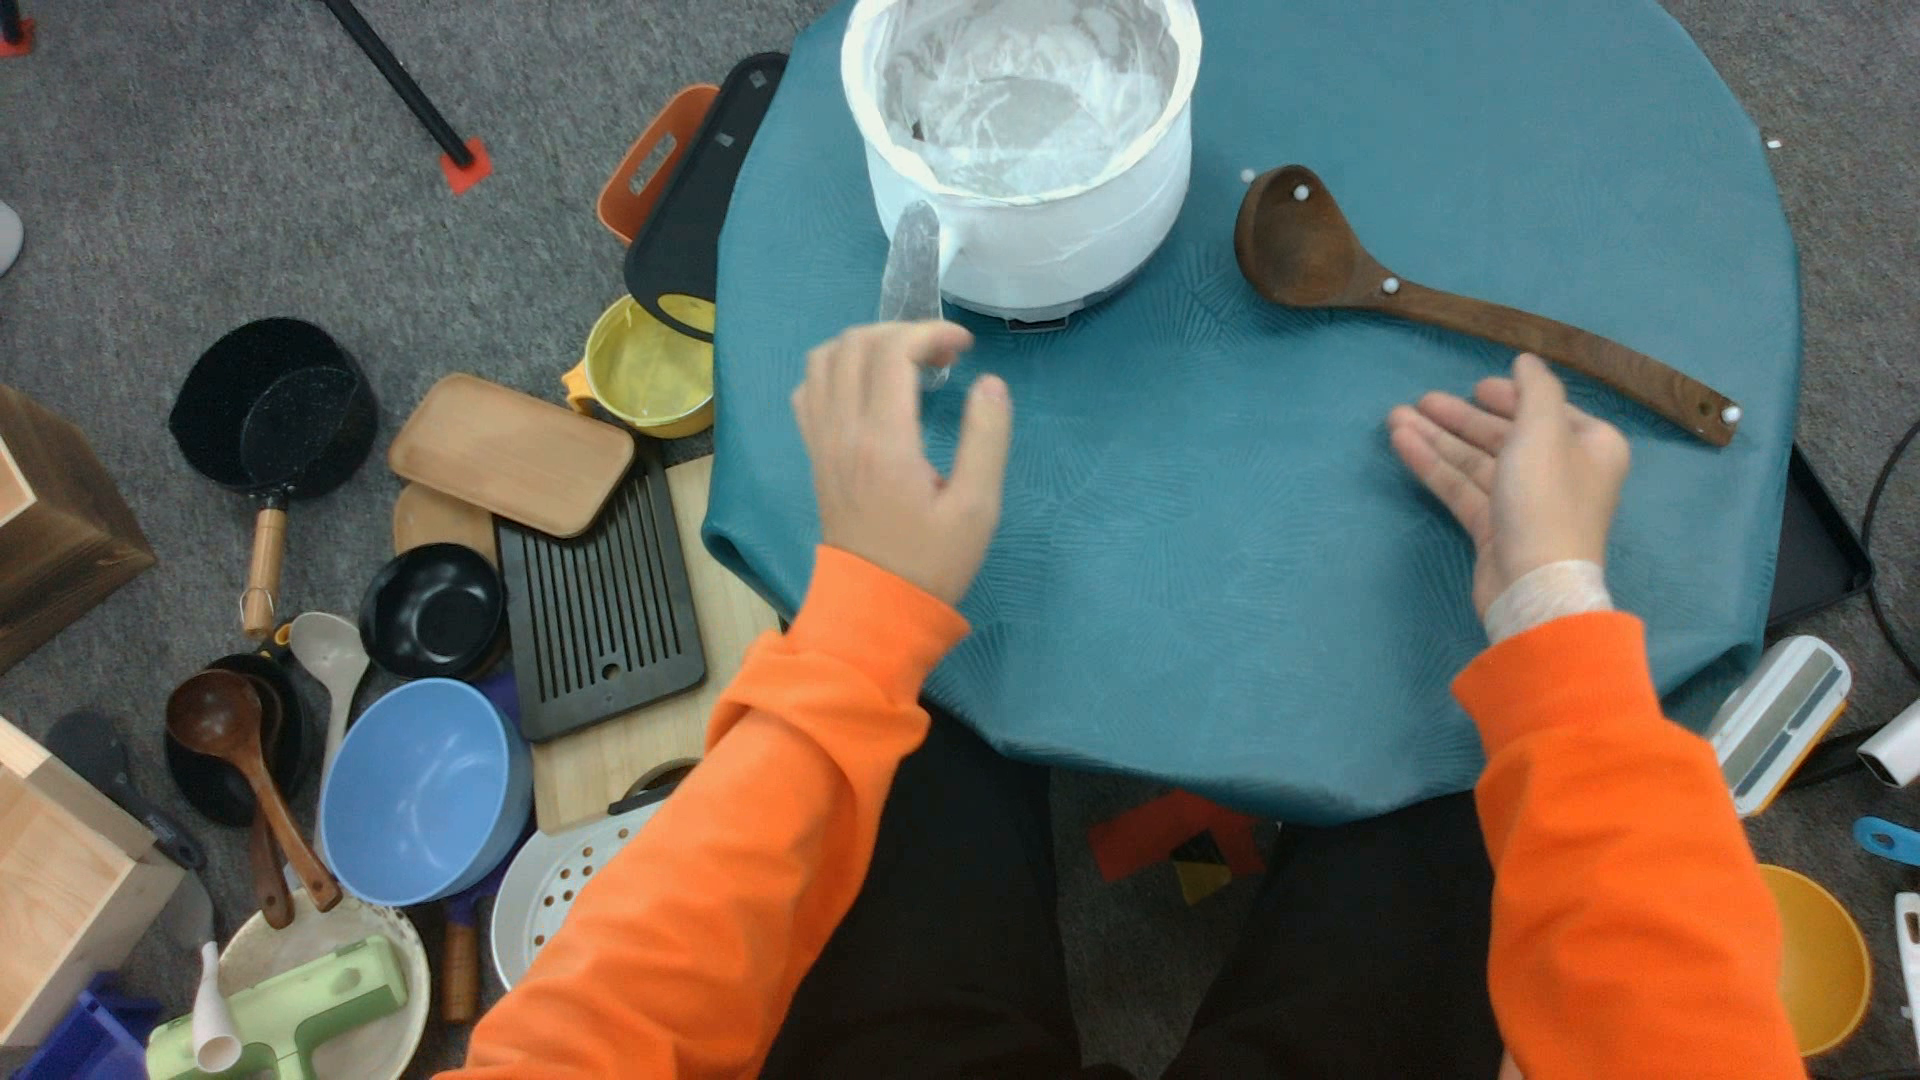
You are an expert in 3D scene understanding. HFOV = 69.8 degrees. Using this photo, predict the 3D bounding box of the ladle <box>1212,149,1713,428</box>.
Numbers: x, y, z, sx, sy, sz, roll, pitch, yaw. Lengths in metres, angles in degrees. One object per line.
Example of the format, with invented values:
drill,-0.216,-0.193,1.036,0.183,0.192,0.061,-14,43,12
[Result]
ladle,0.263,-0.129,0.718,0.274,0.071,0.076,24,80,14

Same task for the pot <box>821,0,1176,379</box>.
pot,0.012,-0.202,0.733,0.178,0.136,0.234,23,74,13
